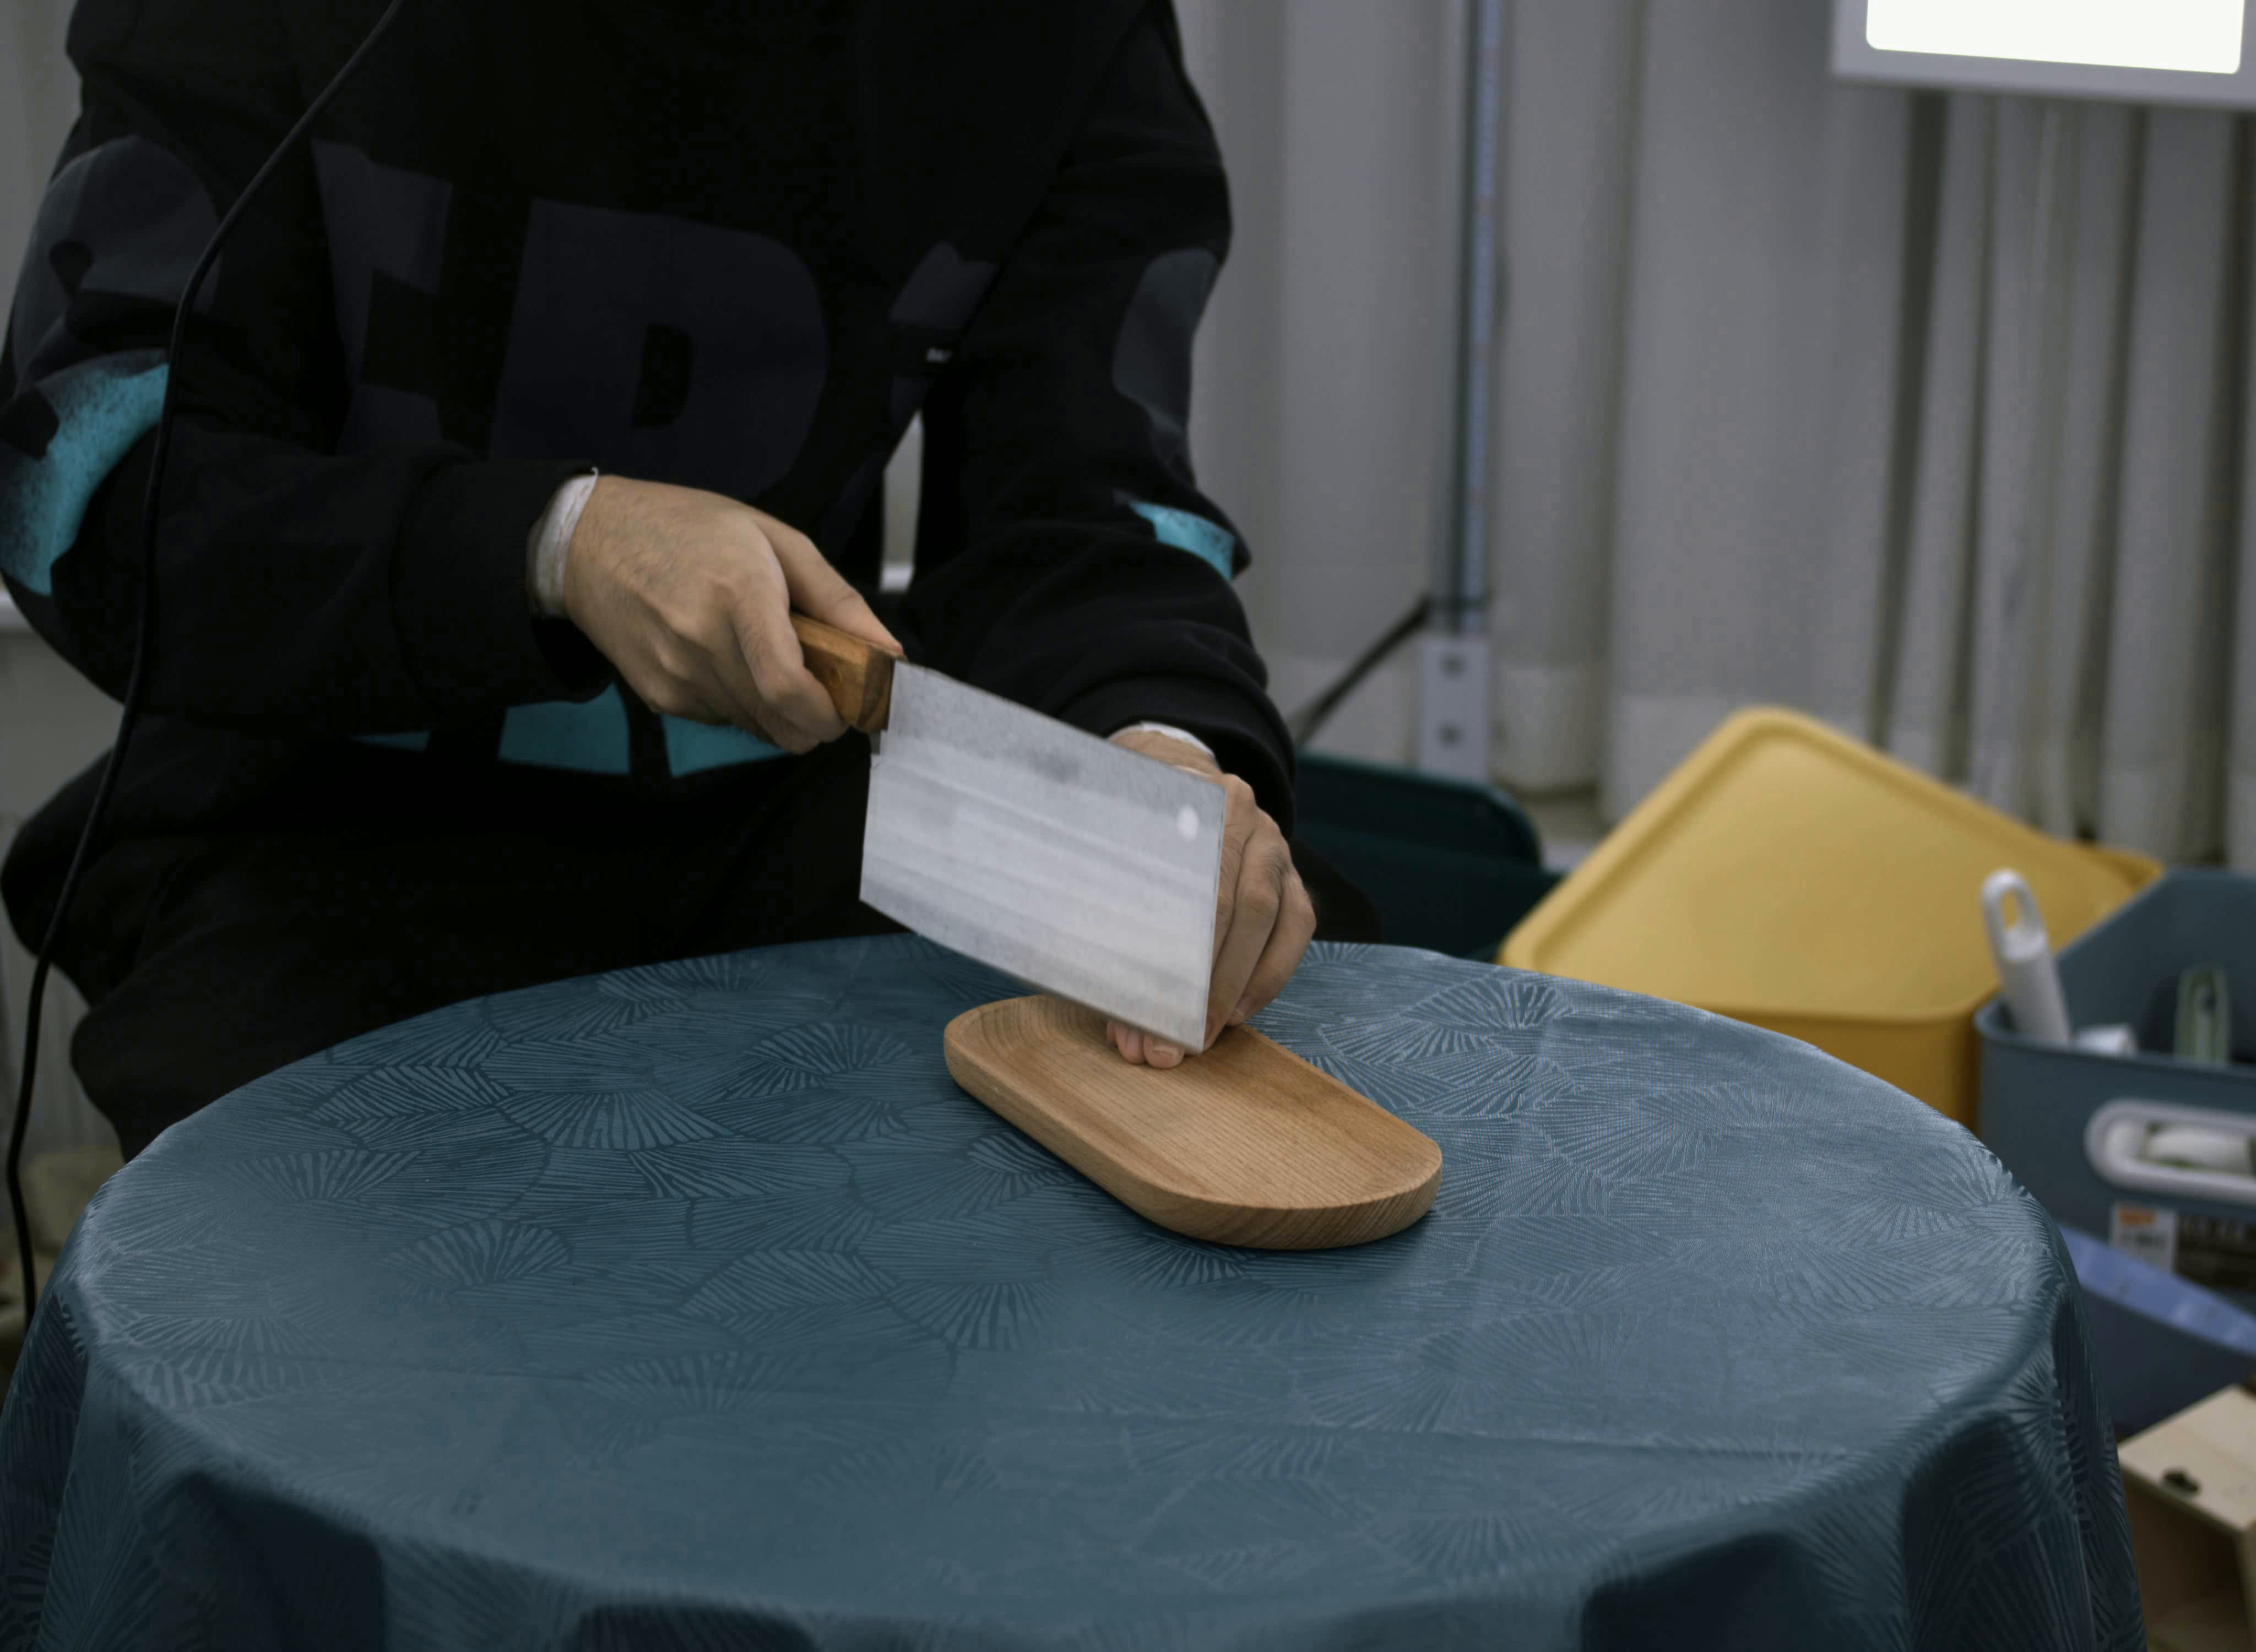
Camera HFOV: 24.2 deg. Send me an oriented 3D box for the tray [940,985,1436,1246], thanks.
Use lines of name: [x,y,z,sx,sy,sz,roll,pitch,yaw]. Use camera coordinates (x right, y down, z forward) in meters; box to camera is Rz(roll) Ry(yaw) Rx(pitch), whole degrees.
tray: [0.017,0.090,1.671,0.102,0.020,0.228,-5,15,-25]

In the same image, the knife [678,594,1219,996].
knife: [-0.065,-0.010,1.782,0.021,0.093,0.301,-8,19,-38]
